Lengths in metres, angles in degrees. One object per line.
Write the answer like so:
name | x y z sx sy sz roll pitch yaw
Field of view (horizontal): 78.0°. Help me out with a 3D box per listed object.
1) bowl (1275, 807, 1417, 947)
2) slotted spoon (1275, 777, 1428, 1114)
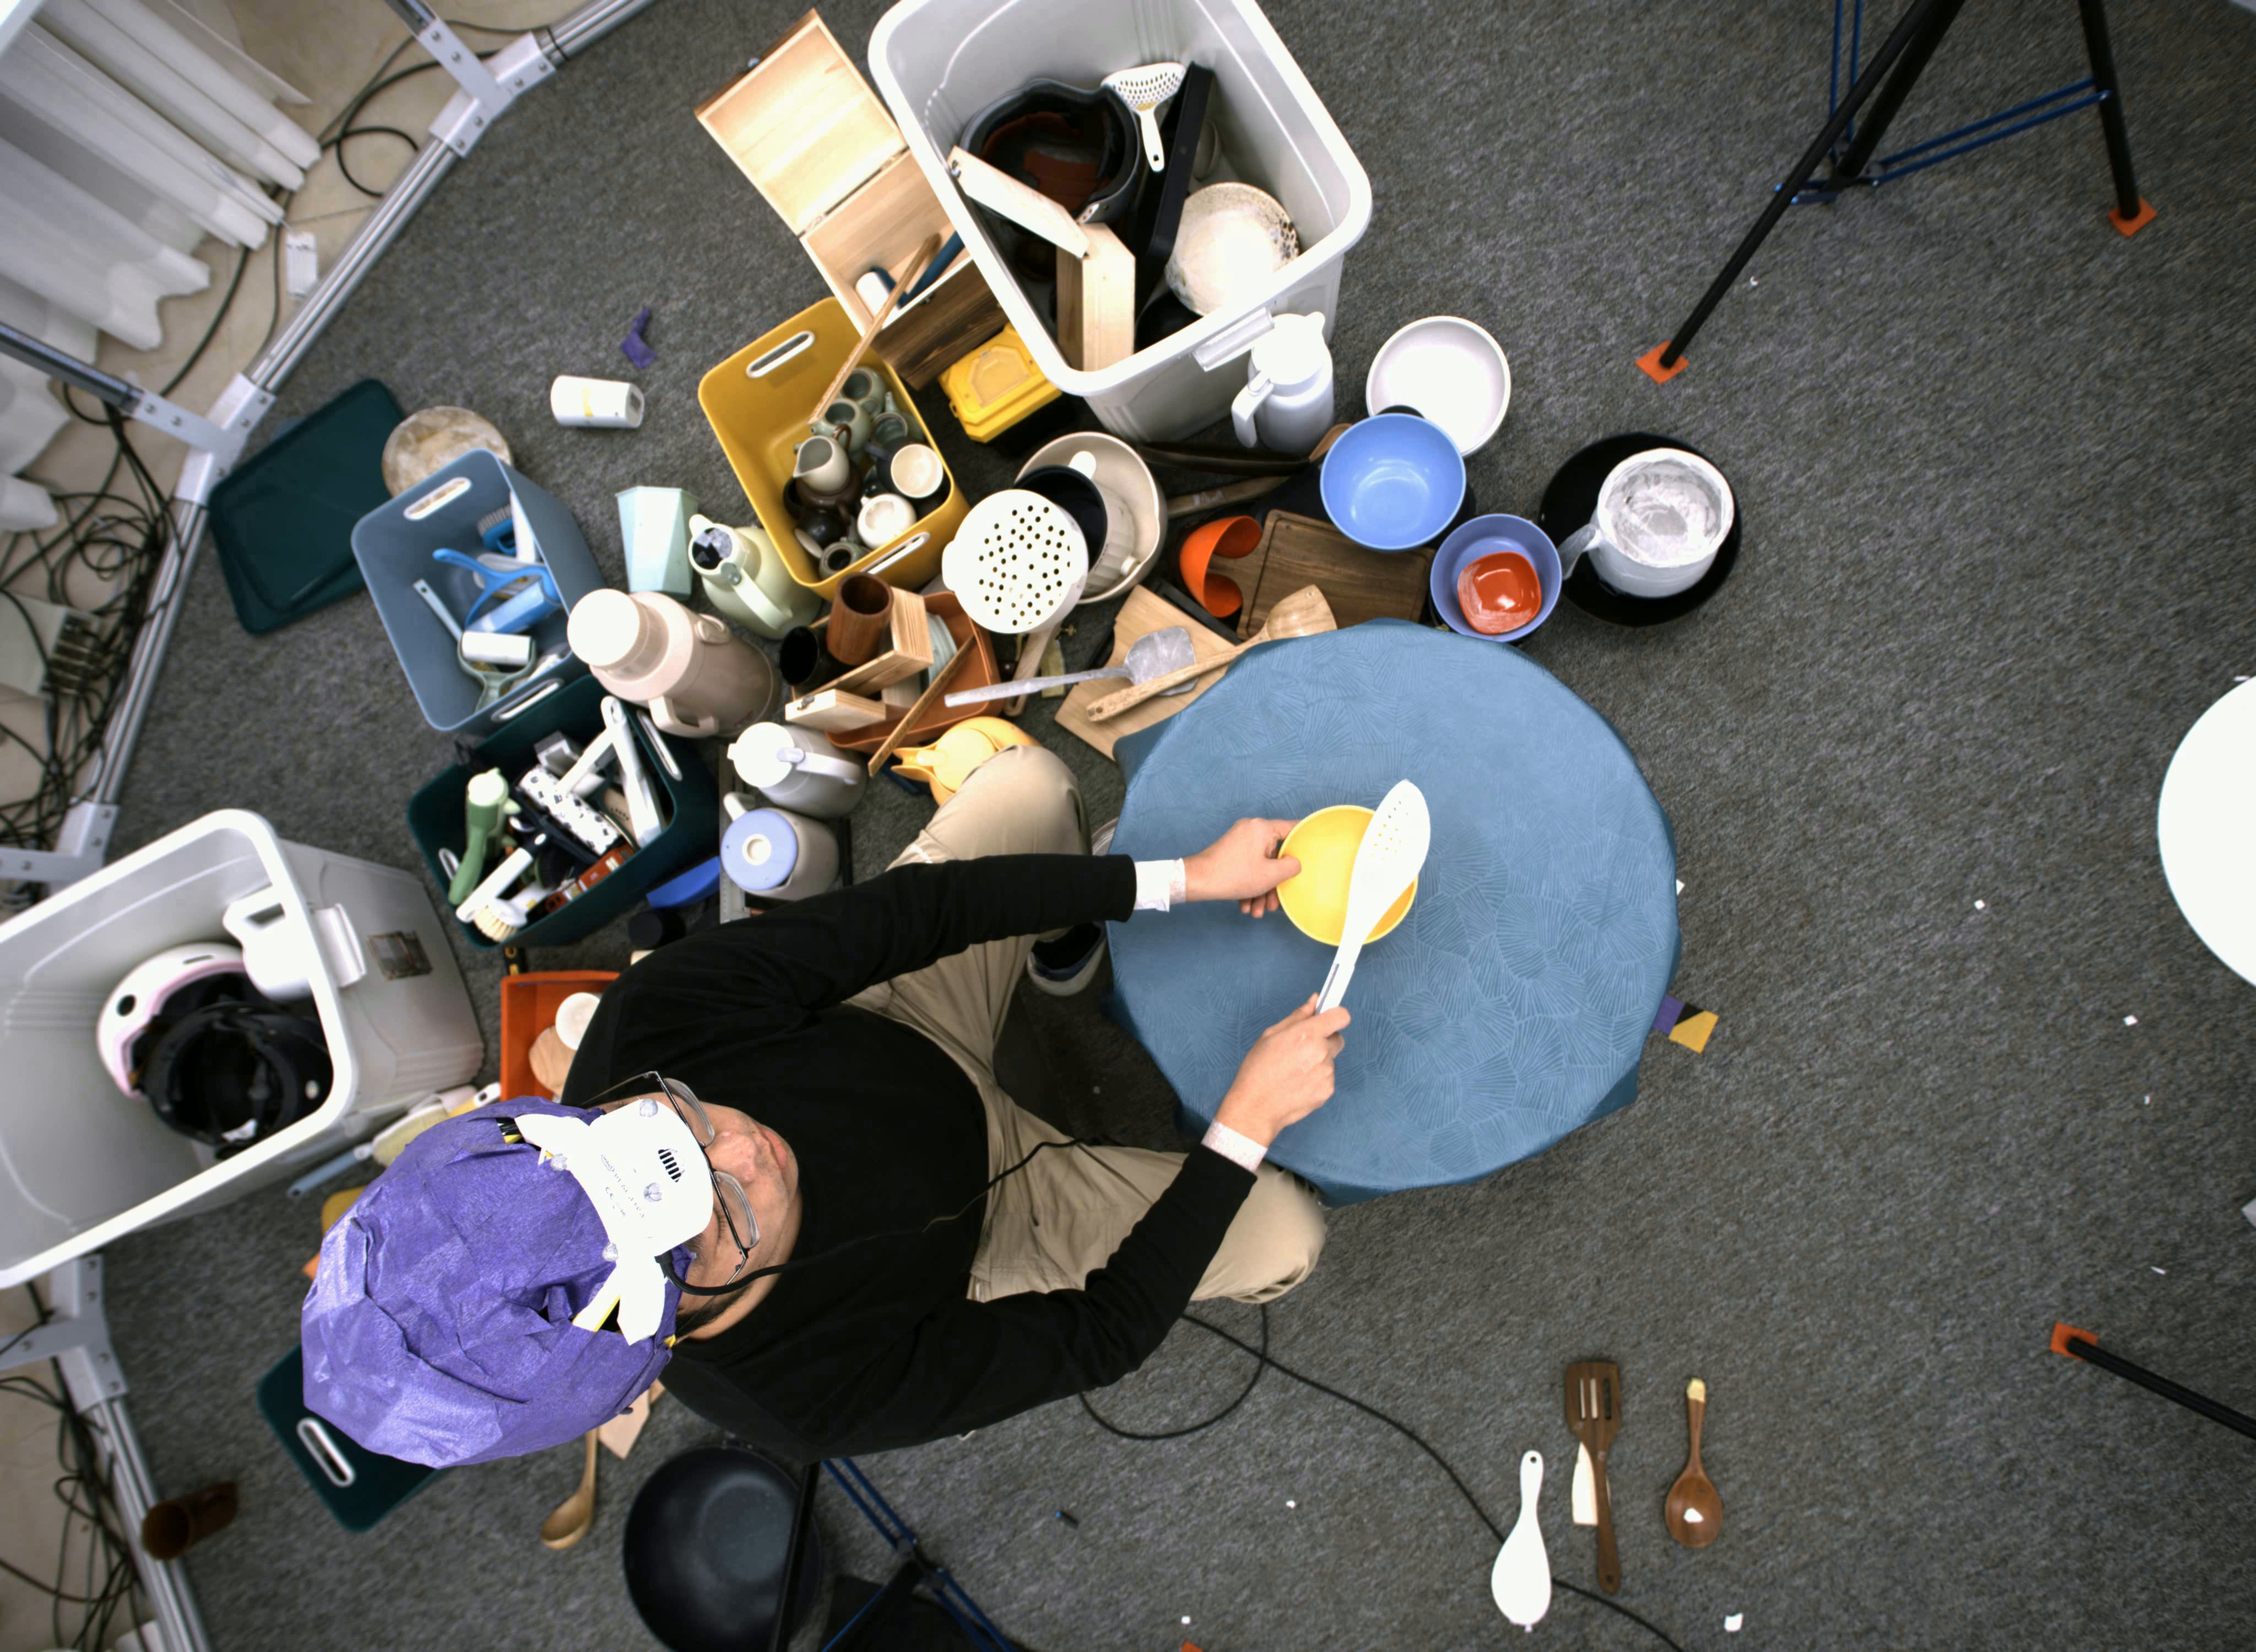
bowl | 0.226 0.055 1.440 0.146 0.060 0.144 -1 83 9
slotted spoon | 0.216 0.118 1.355 0.046 0.135 0.350 26 92 -7
